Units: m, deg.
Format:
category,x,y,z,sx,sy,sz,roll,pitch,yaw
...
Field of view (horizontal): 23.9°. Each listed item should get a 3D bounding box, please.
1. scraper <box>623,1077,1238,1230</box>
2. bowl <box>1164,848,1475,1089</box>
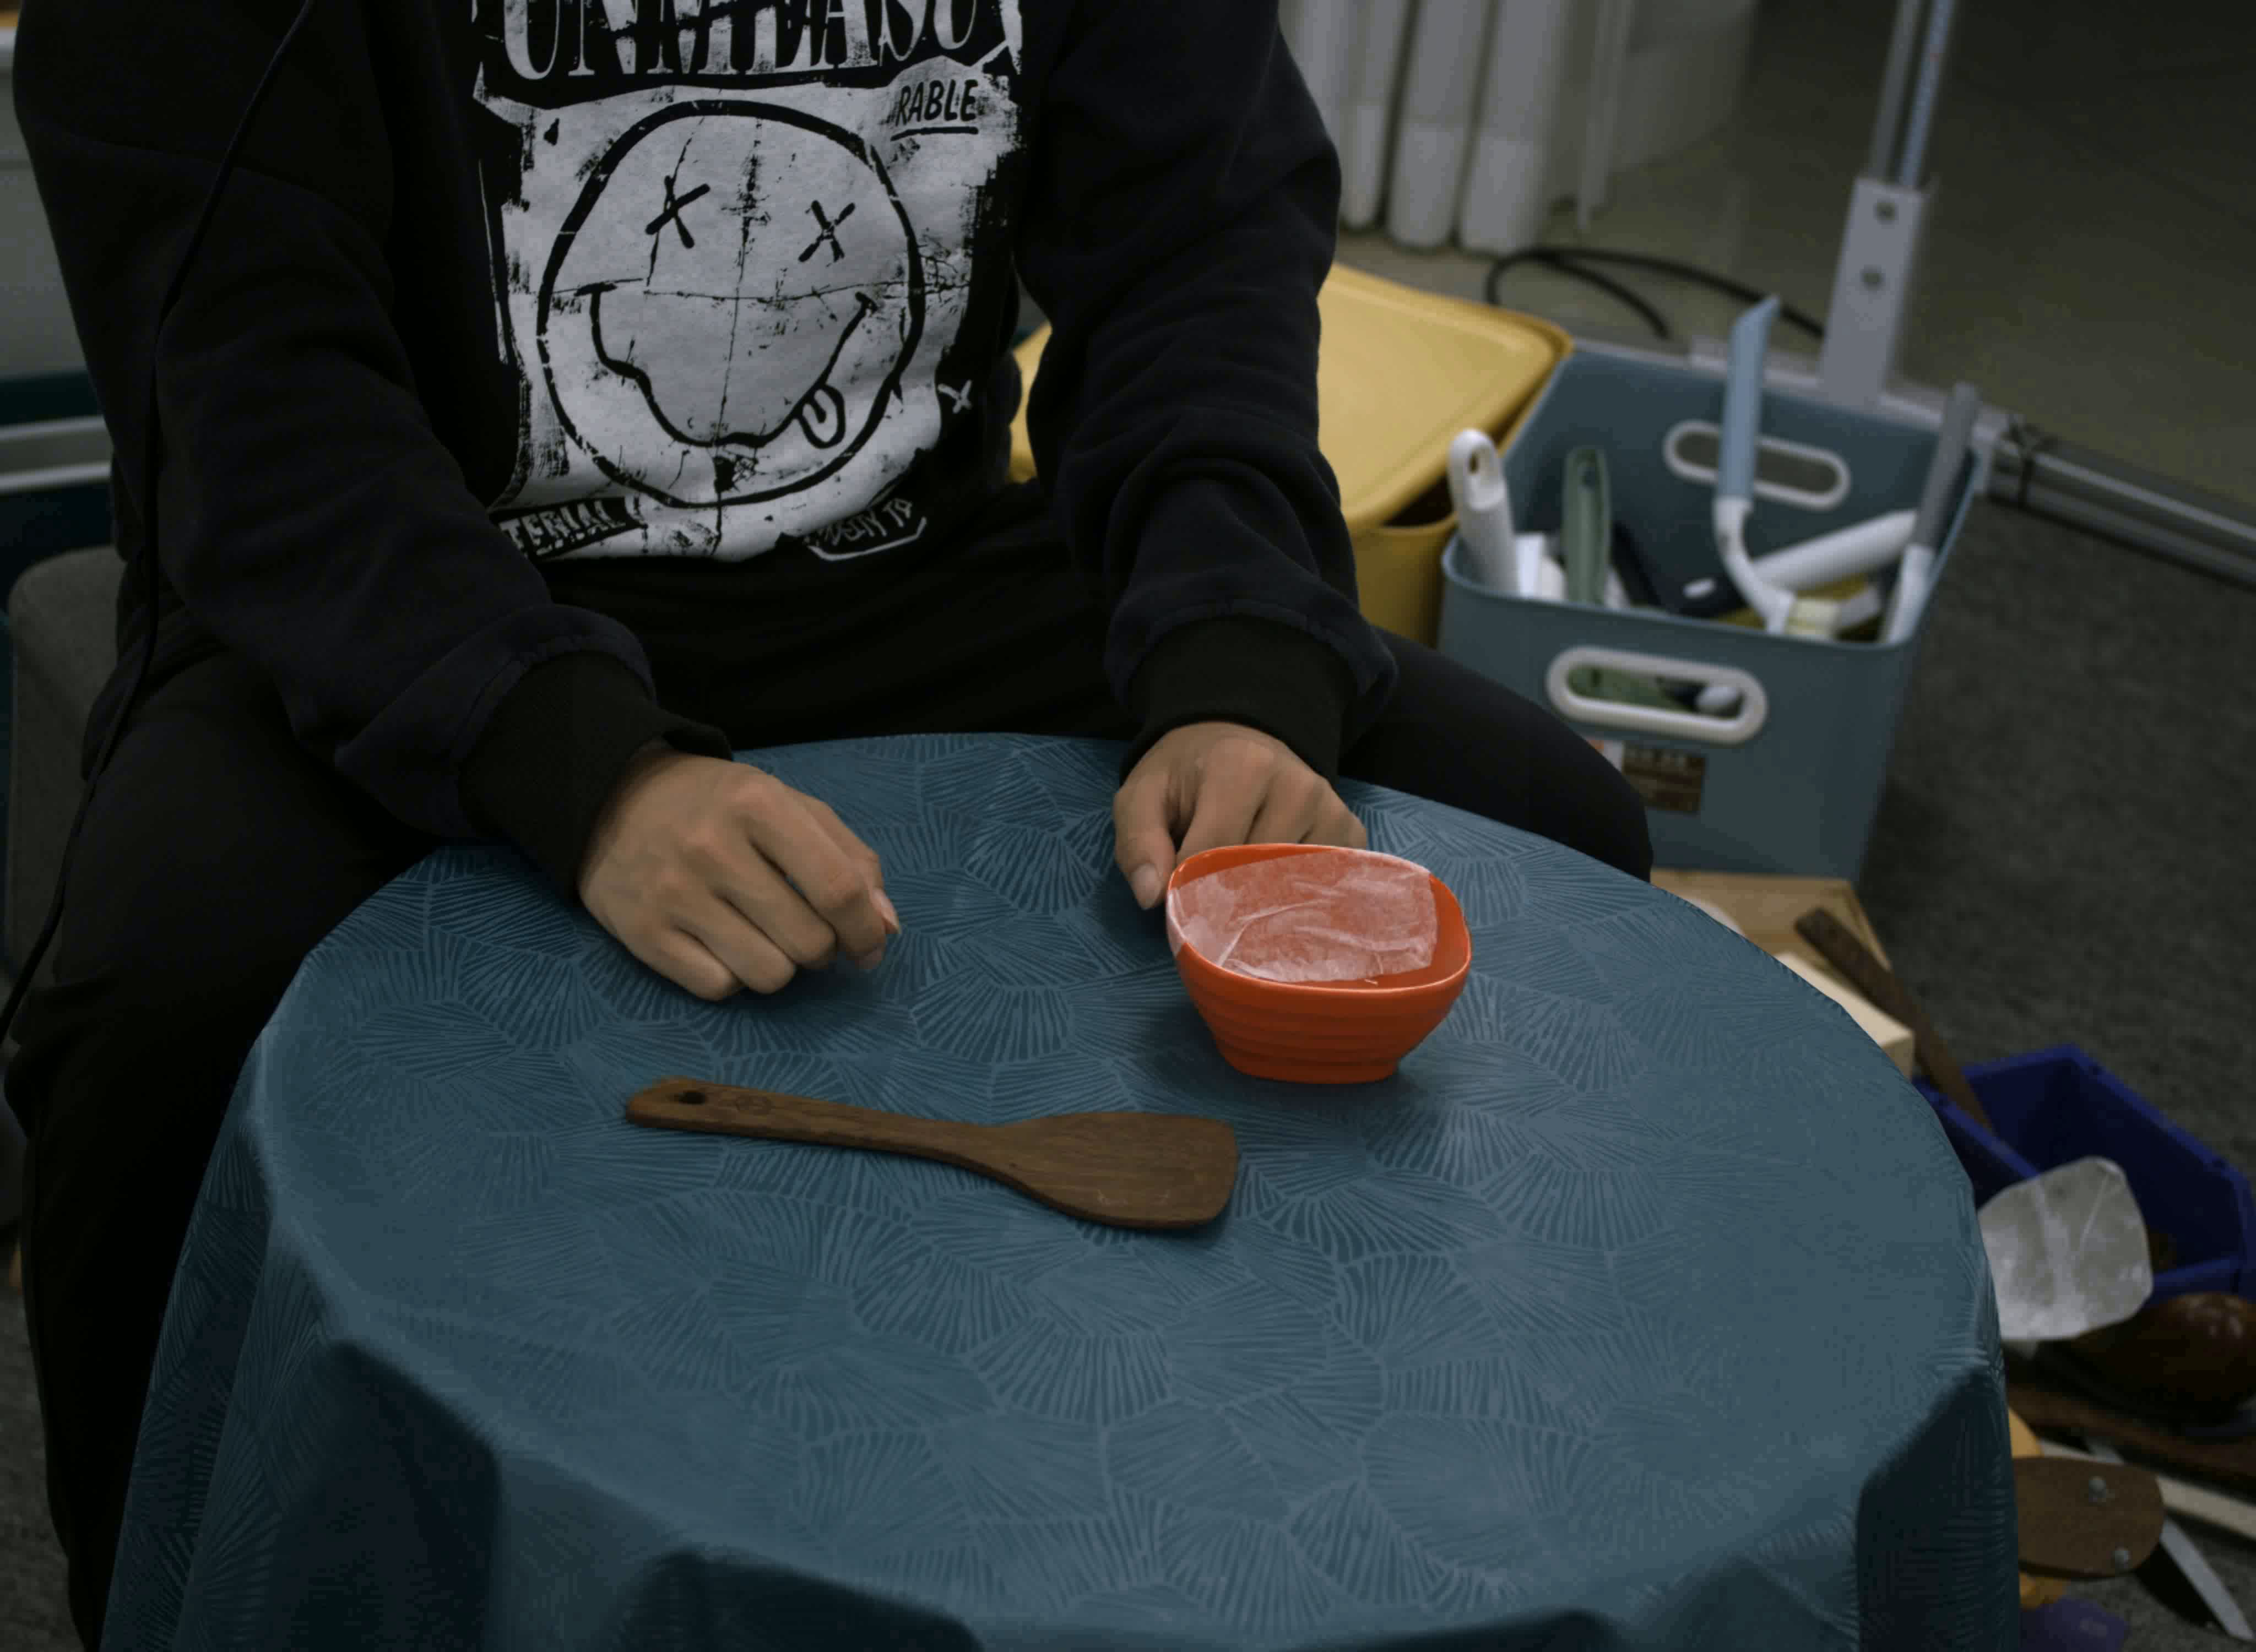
category,x,y,z,sx,sy,sz,roll,pitch,yaw
scraper,-0.067,0.107,1.810,0.211,0.011,0.076,8,26,4
bowl,0.065,0.055,1.897,0.118,0.051,0.119,5,28,-3
